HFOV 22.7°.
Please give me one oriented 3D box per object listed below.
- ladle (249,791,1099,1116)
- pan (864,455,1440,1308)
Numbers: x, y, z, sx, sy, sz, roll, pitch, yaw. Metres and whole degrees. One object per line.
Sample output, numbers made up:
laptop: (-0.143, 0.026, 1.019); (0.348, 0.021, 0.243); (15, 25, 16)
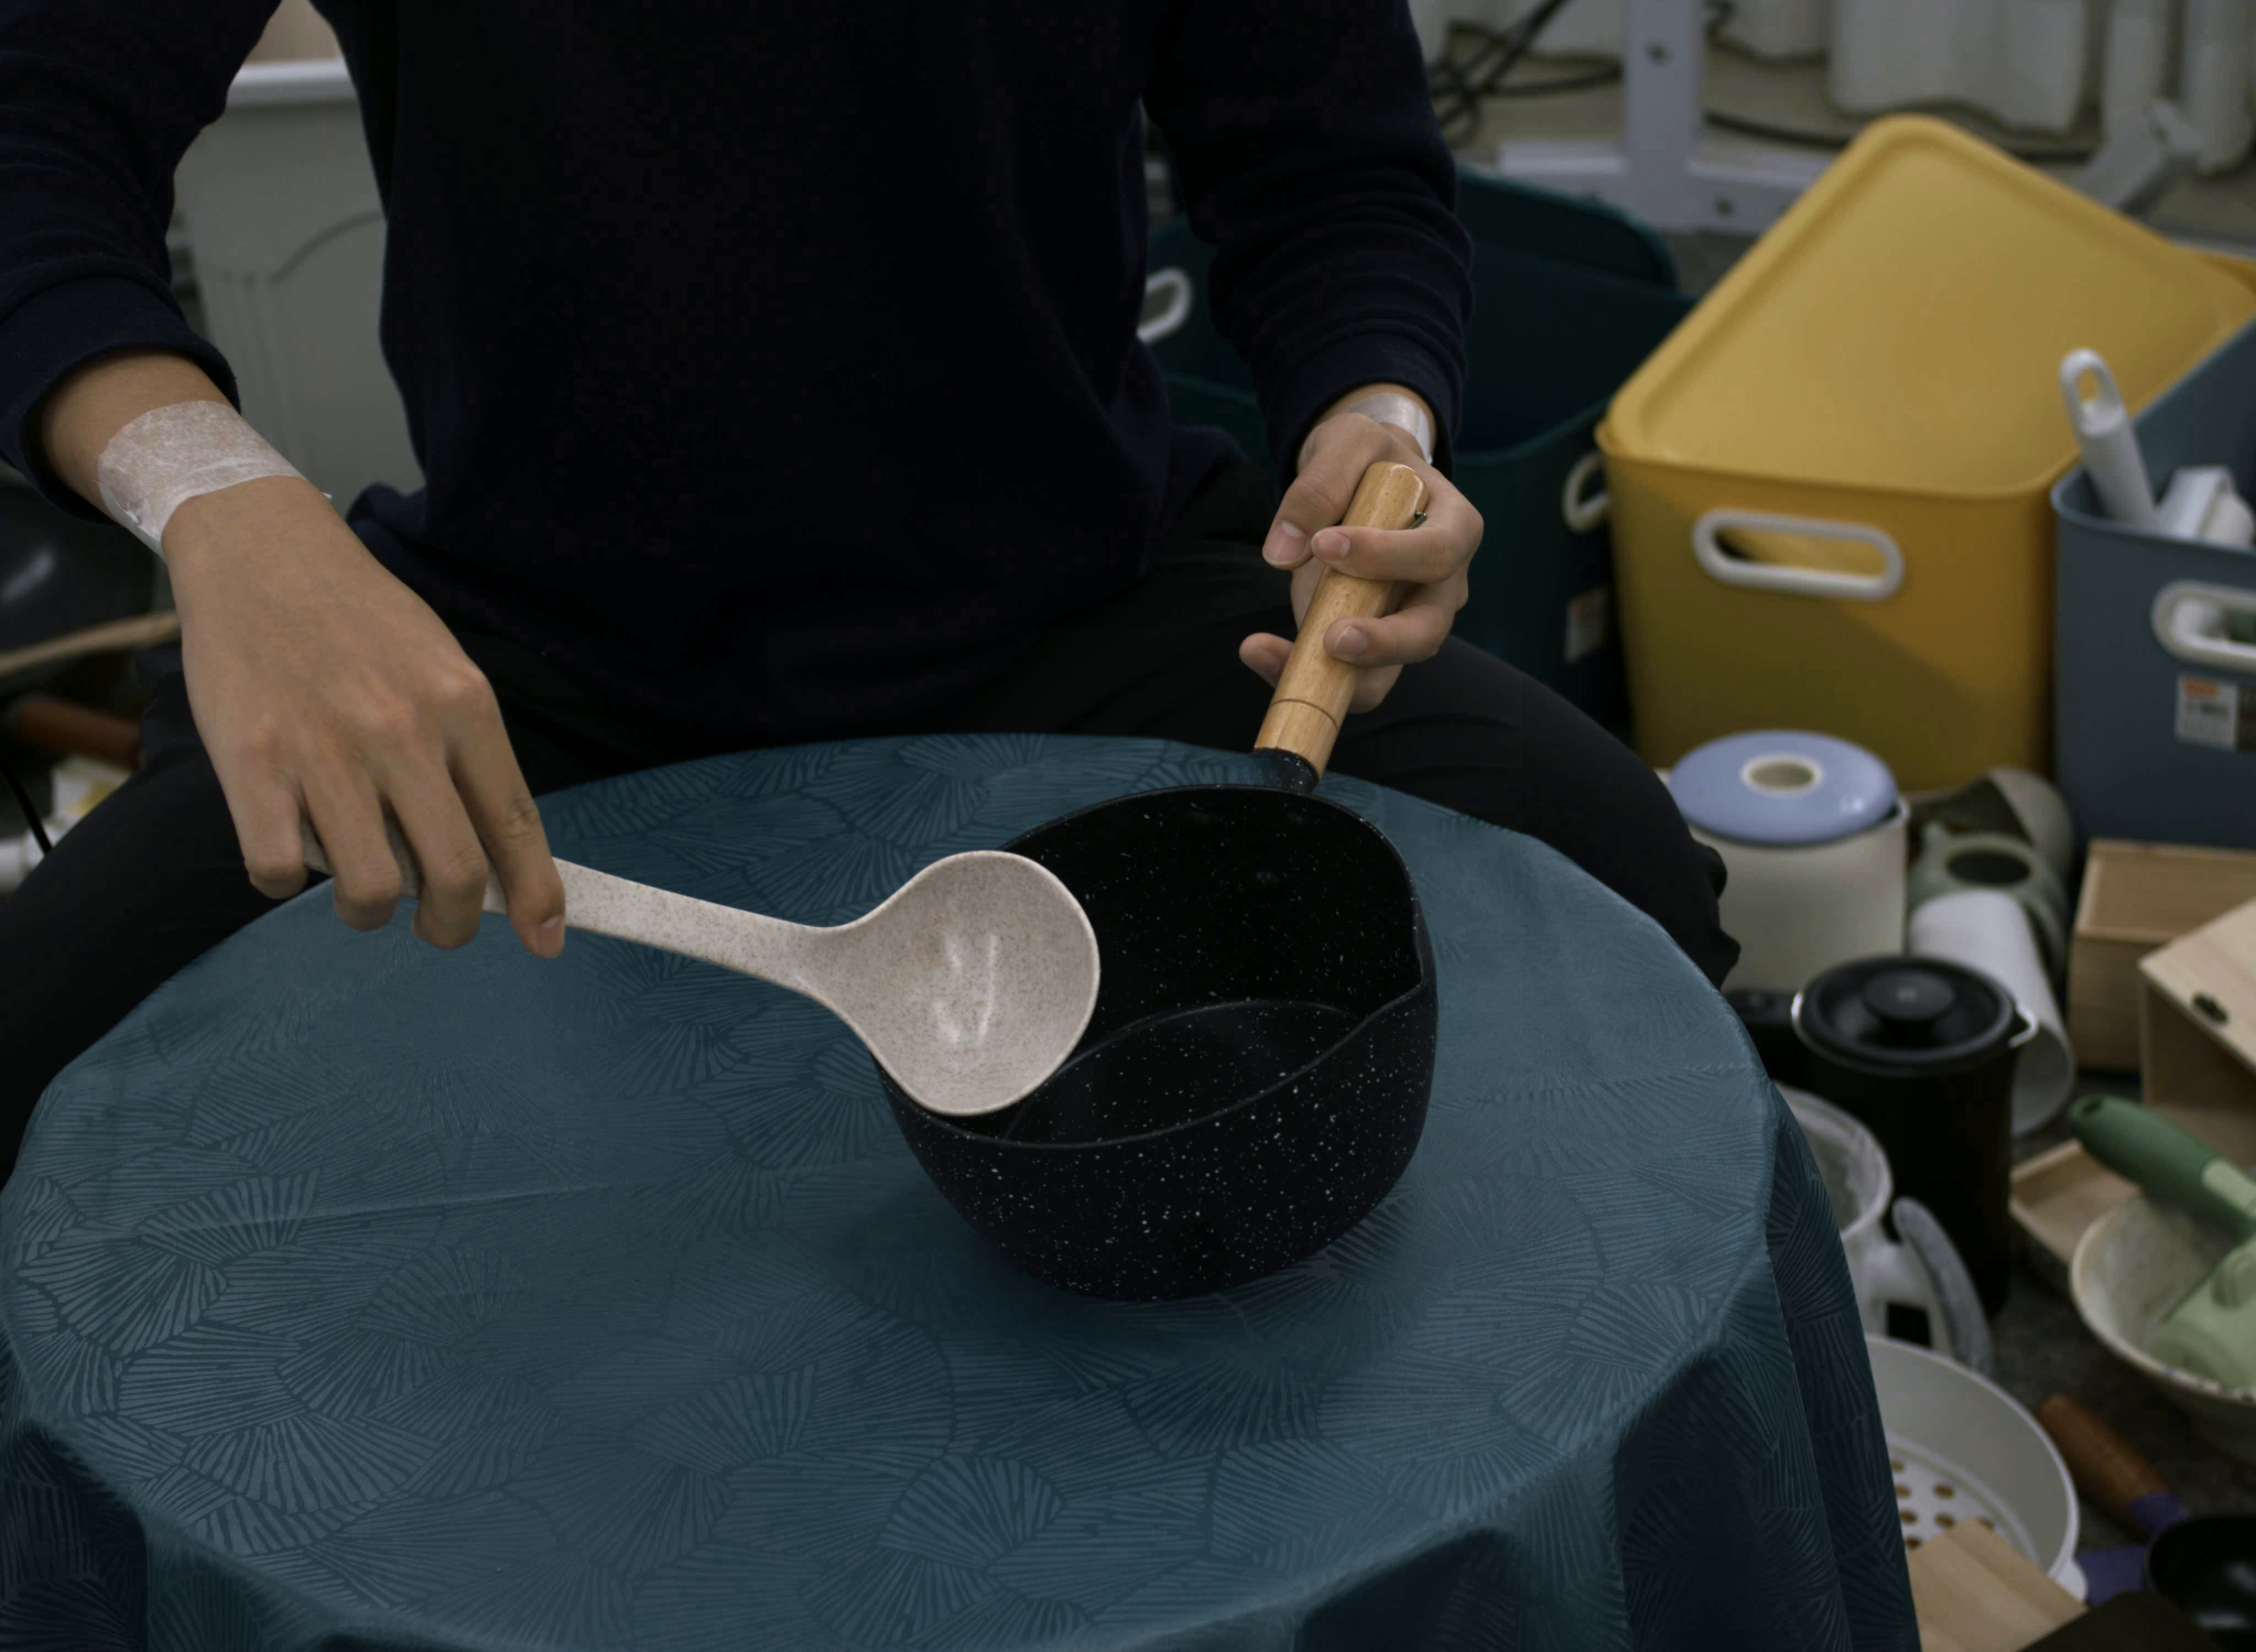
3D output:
ladle: (-0.136, 0.024, 1.741); (0.274, 0.090, 0.068); (17, -19, -33)
pan: (0.040, 0.017, 1.880); (0.205, 0.107, 0.350); (1, 39, 26)
